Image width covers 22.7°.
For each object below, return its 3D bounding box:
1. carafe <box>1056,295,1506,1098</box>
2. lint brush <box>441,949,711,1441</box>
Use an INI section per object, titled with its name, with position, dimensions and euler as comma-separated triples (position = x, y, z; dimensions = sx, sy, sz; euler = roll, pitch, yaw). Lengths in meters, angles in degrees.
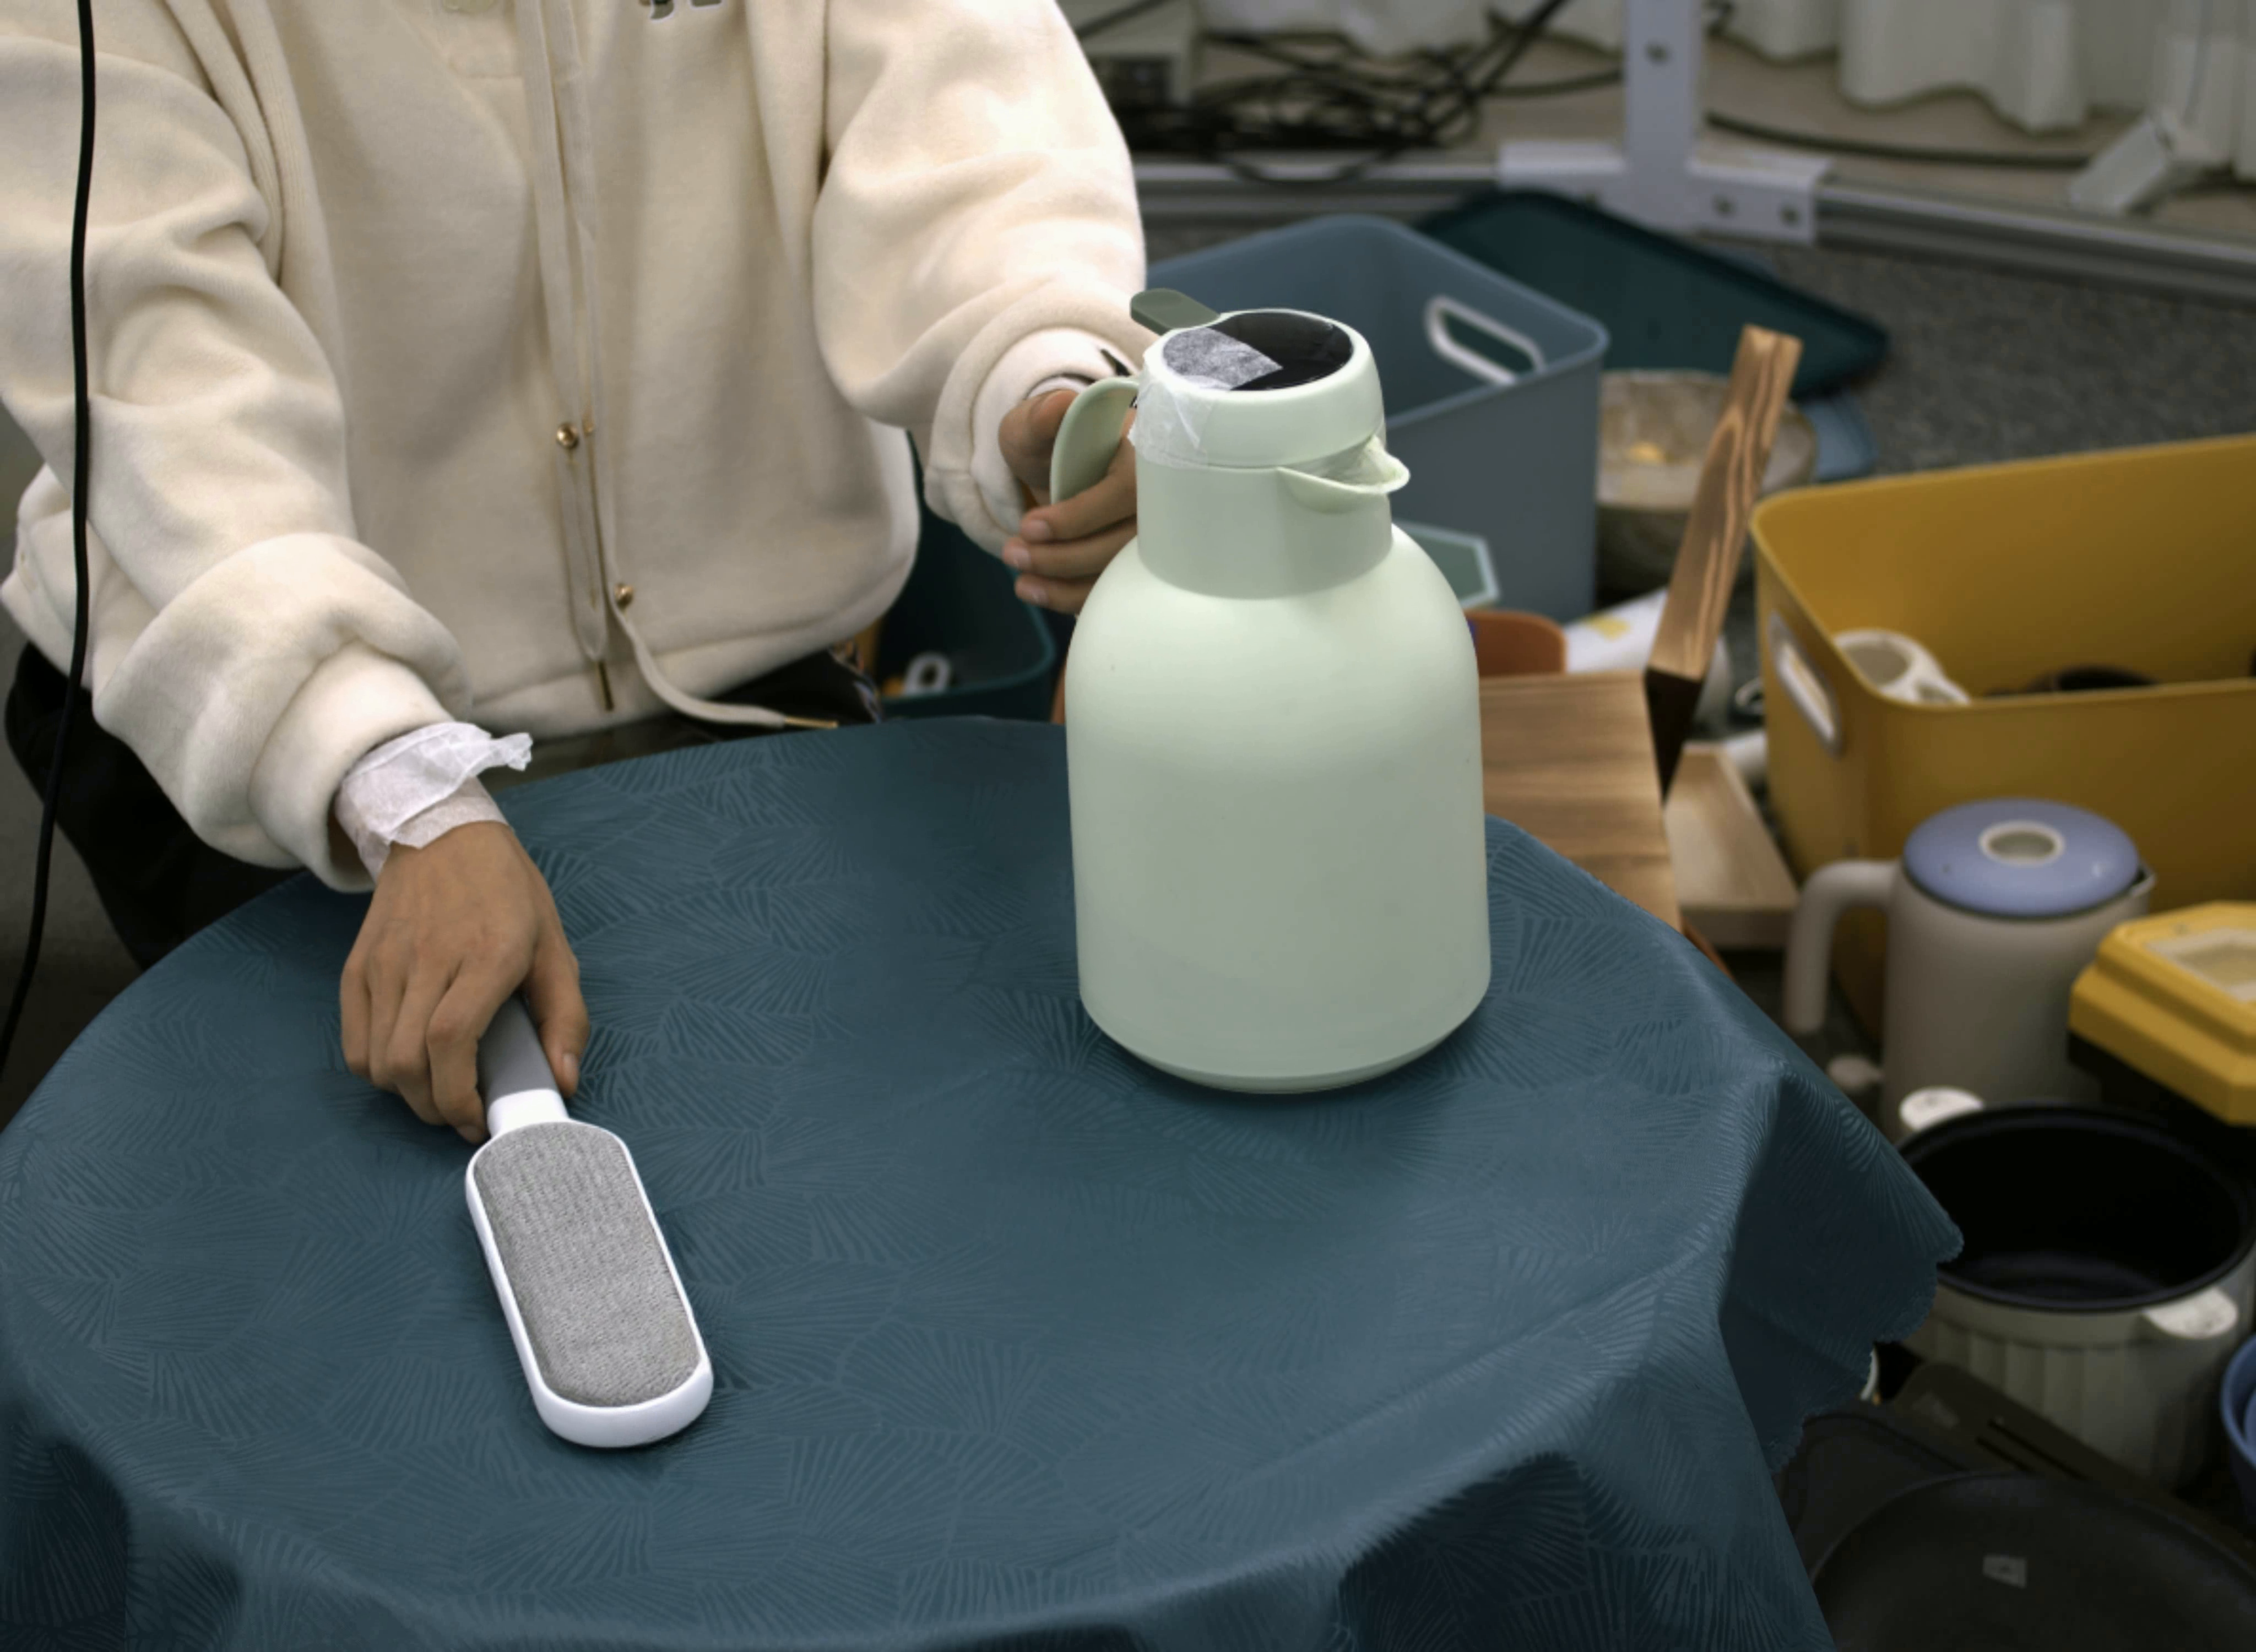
[carafe]
position = 0.042, -0.051, 1.923
dimensions = 0.145, 0.254, 0.187
euler = -21, 28, -29
[lint brush]
position = -0.191, 0.117, 1.861
dimensions = 0.060, 0.021, 0.312
euler = -11, 28, -12
